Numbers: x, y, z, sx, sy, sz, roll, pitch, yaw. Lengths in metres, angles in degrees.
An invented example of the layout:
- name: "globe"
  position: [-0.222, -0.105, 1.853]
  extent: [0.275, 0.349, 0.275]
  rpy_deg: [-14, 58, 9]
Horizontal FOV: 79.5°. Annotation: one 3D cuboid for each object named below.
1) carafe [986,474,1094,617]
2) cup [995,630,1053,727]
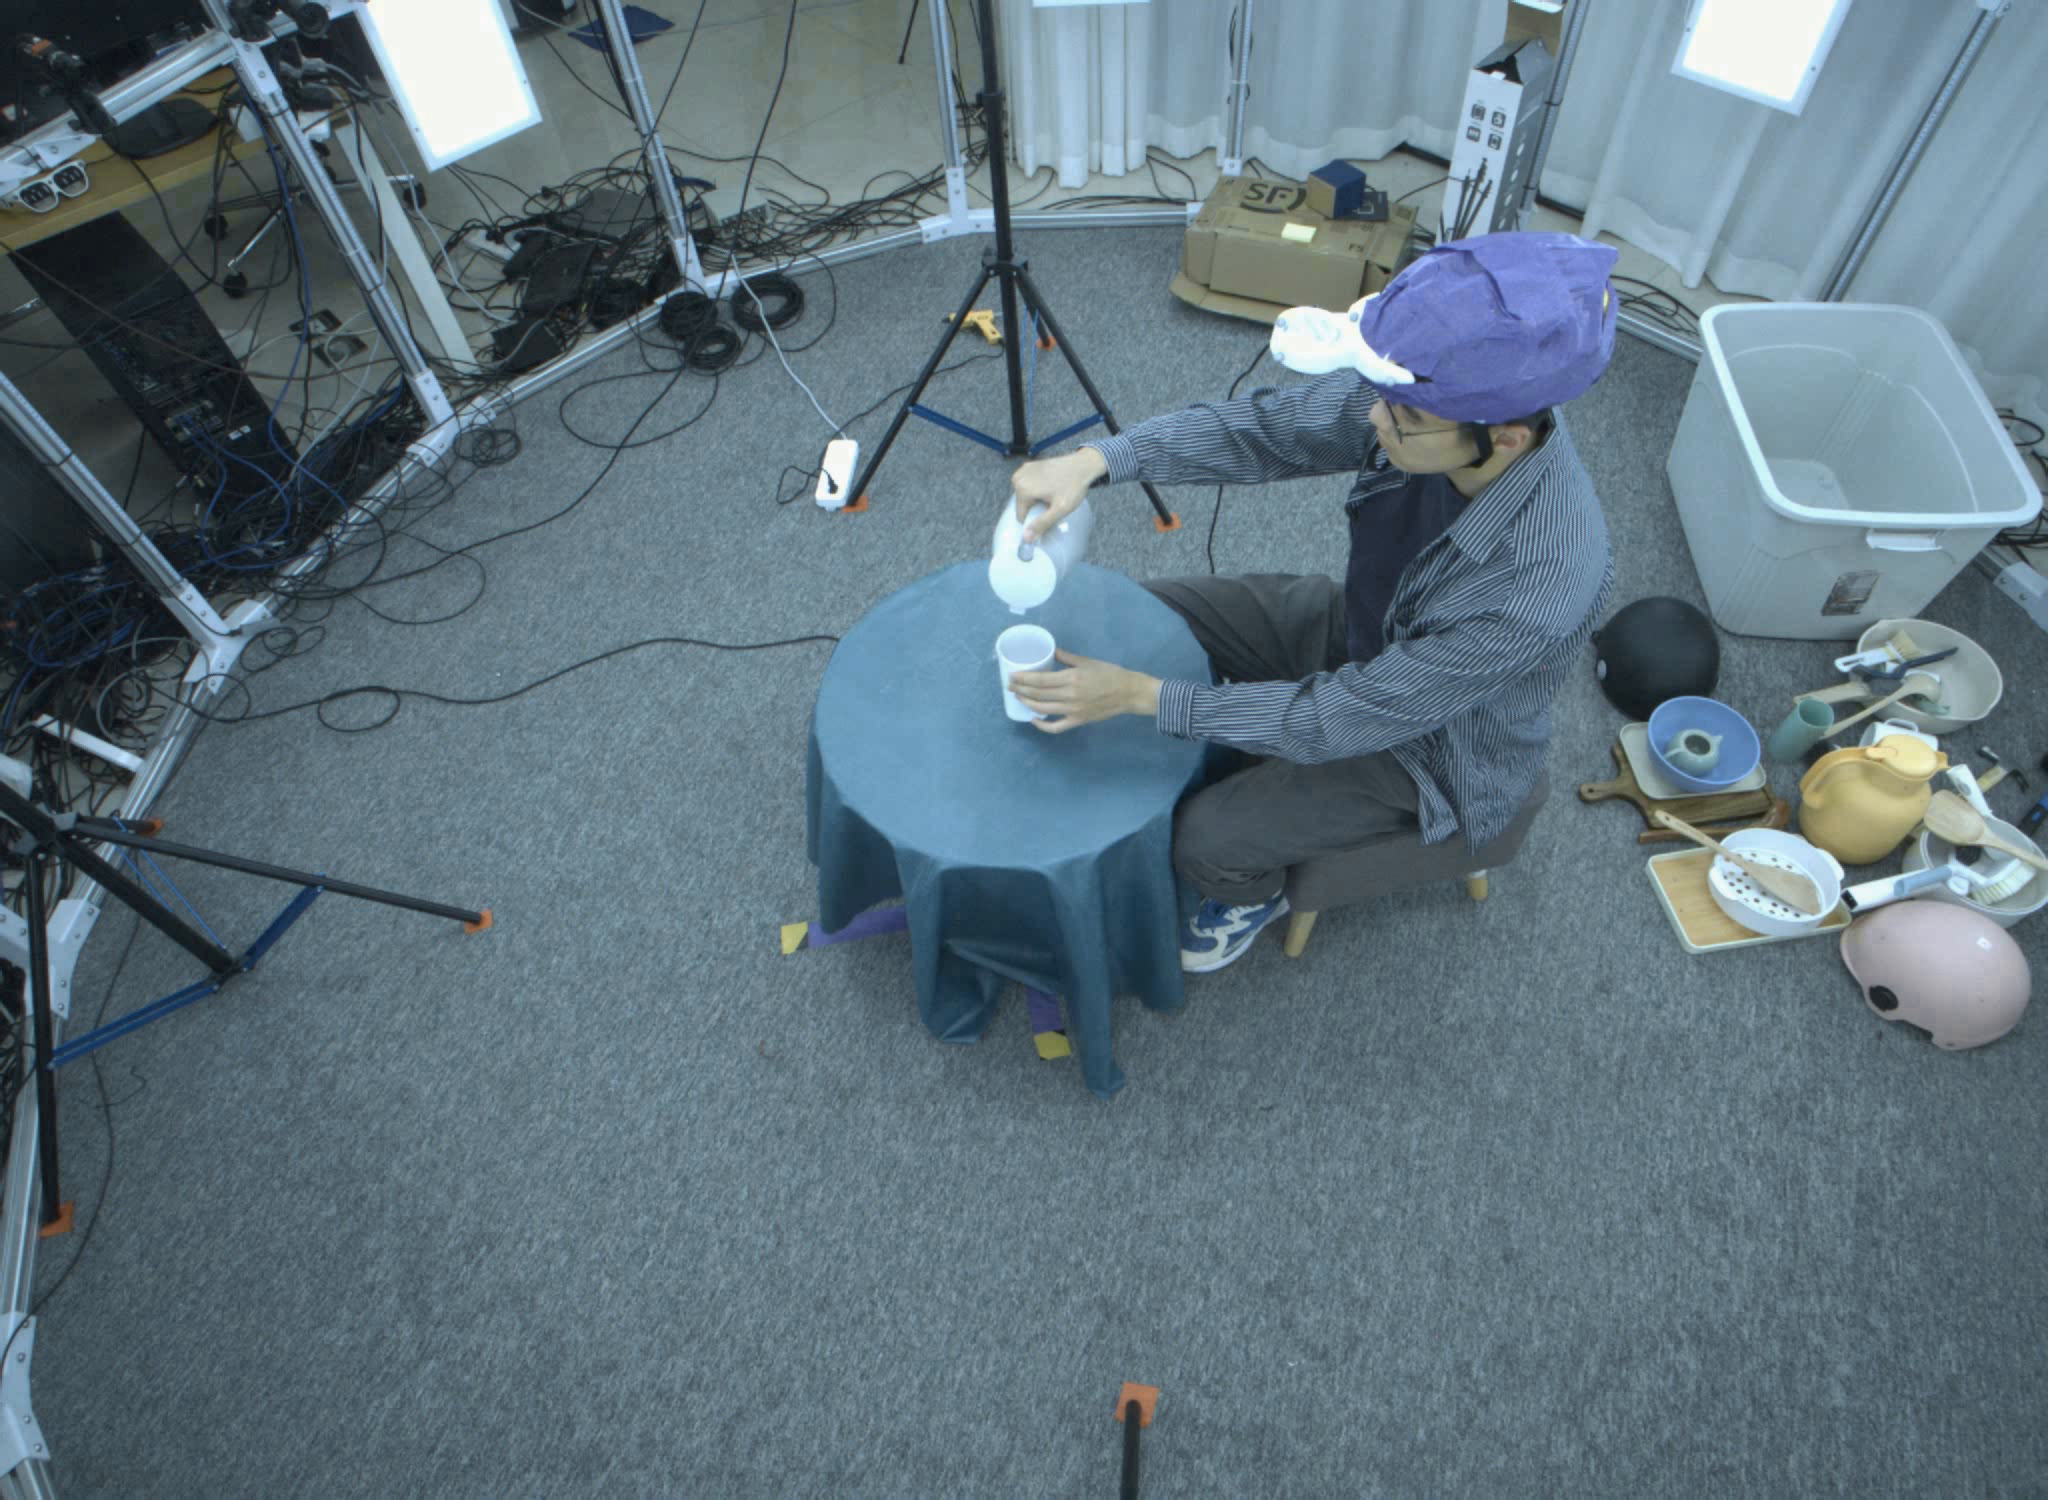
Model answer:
- name: "carafe"
  position: [0.015, -0.303, 1.717]
  extent: [0.132, 0.169, 0.248]
  rpy_deg: [9, 33, 7]
- name: "cup"
  position: [0.001, -0.097, 1.743]
  extent: [0.082, 0.127, 0.081]
  rpy_deg: [0, 51, 1]
